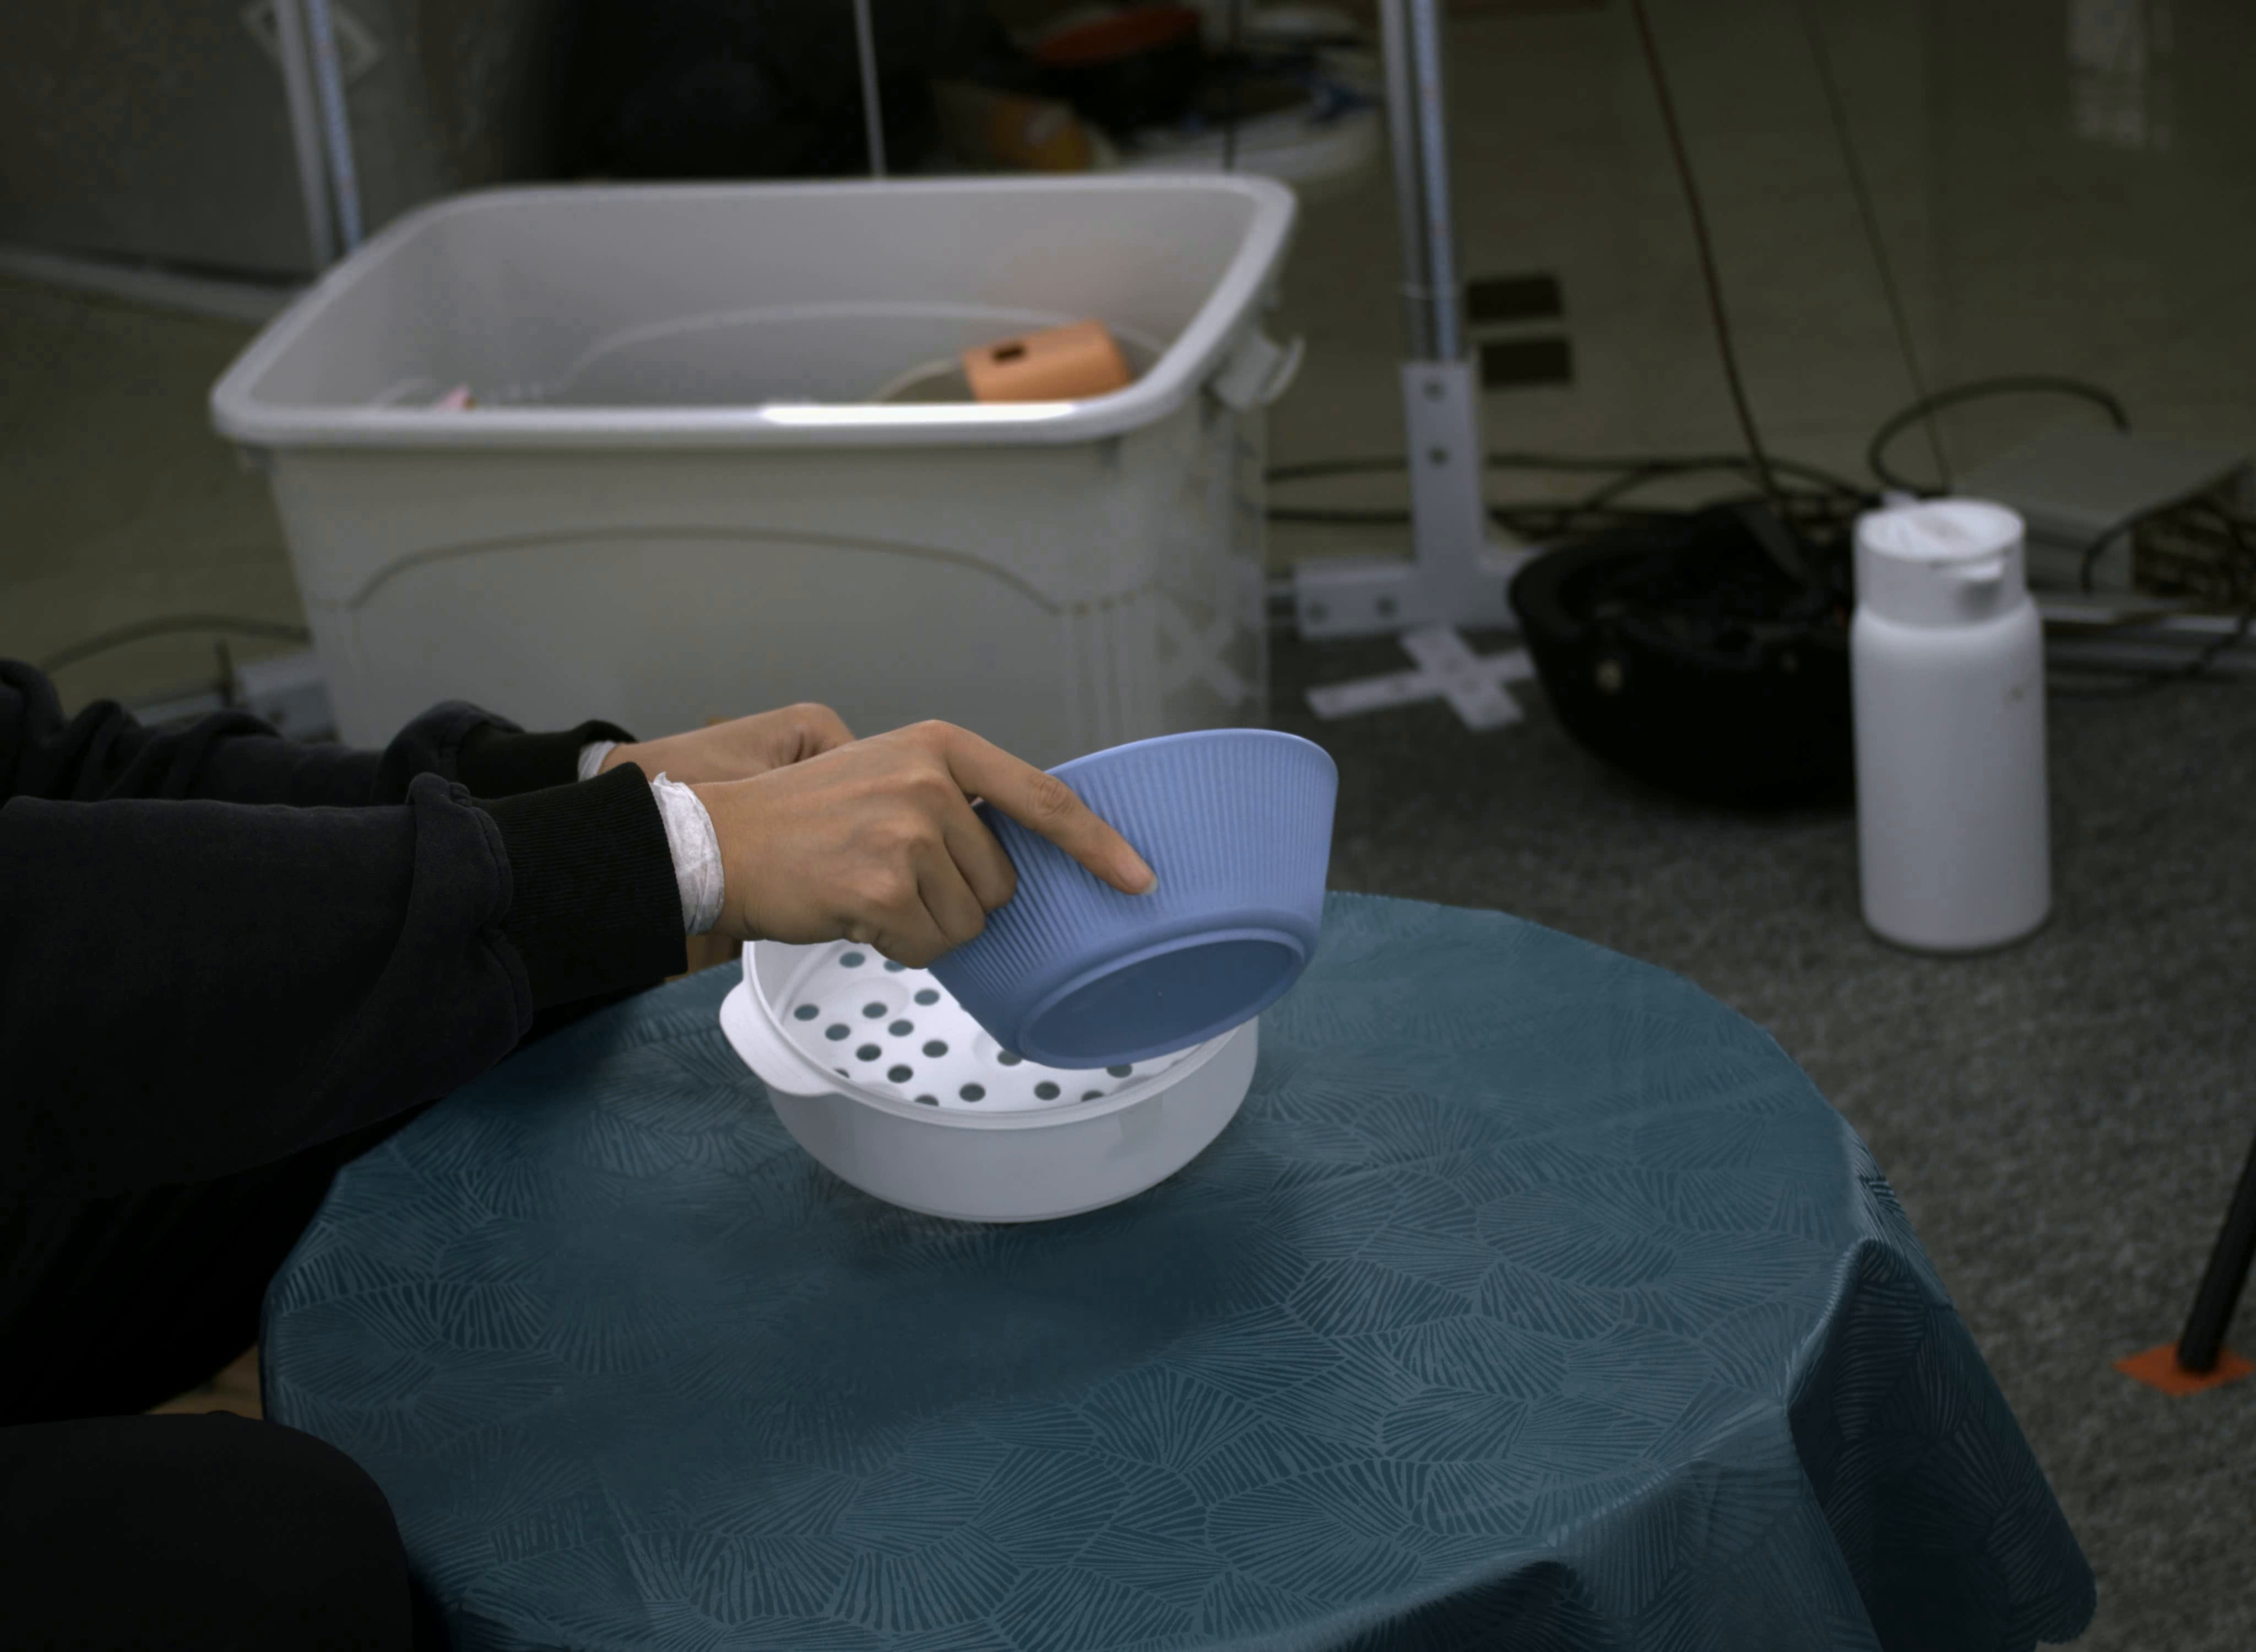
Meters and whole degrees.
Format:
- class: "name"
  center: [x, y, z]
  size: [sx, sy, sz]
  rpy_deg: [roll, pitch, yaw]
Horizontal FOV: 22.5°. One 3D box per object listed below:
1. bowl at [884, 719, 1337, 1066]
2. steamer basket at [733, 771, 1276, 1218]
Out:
- class: "bowl"
  center: [0.003, 0.032, 2.070]
  size: [0.175, 0.178, 0.069]
  rpy_deg: [-13, 67, -15]
- class: "steamer basket"
  center: [-0.042, 0.066, 2.187]
  size: [0.229, 0.070, 0.199]
  rpy_deg: [-21, 46, -24]
